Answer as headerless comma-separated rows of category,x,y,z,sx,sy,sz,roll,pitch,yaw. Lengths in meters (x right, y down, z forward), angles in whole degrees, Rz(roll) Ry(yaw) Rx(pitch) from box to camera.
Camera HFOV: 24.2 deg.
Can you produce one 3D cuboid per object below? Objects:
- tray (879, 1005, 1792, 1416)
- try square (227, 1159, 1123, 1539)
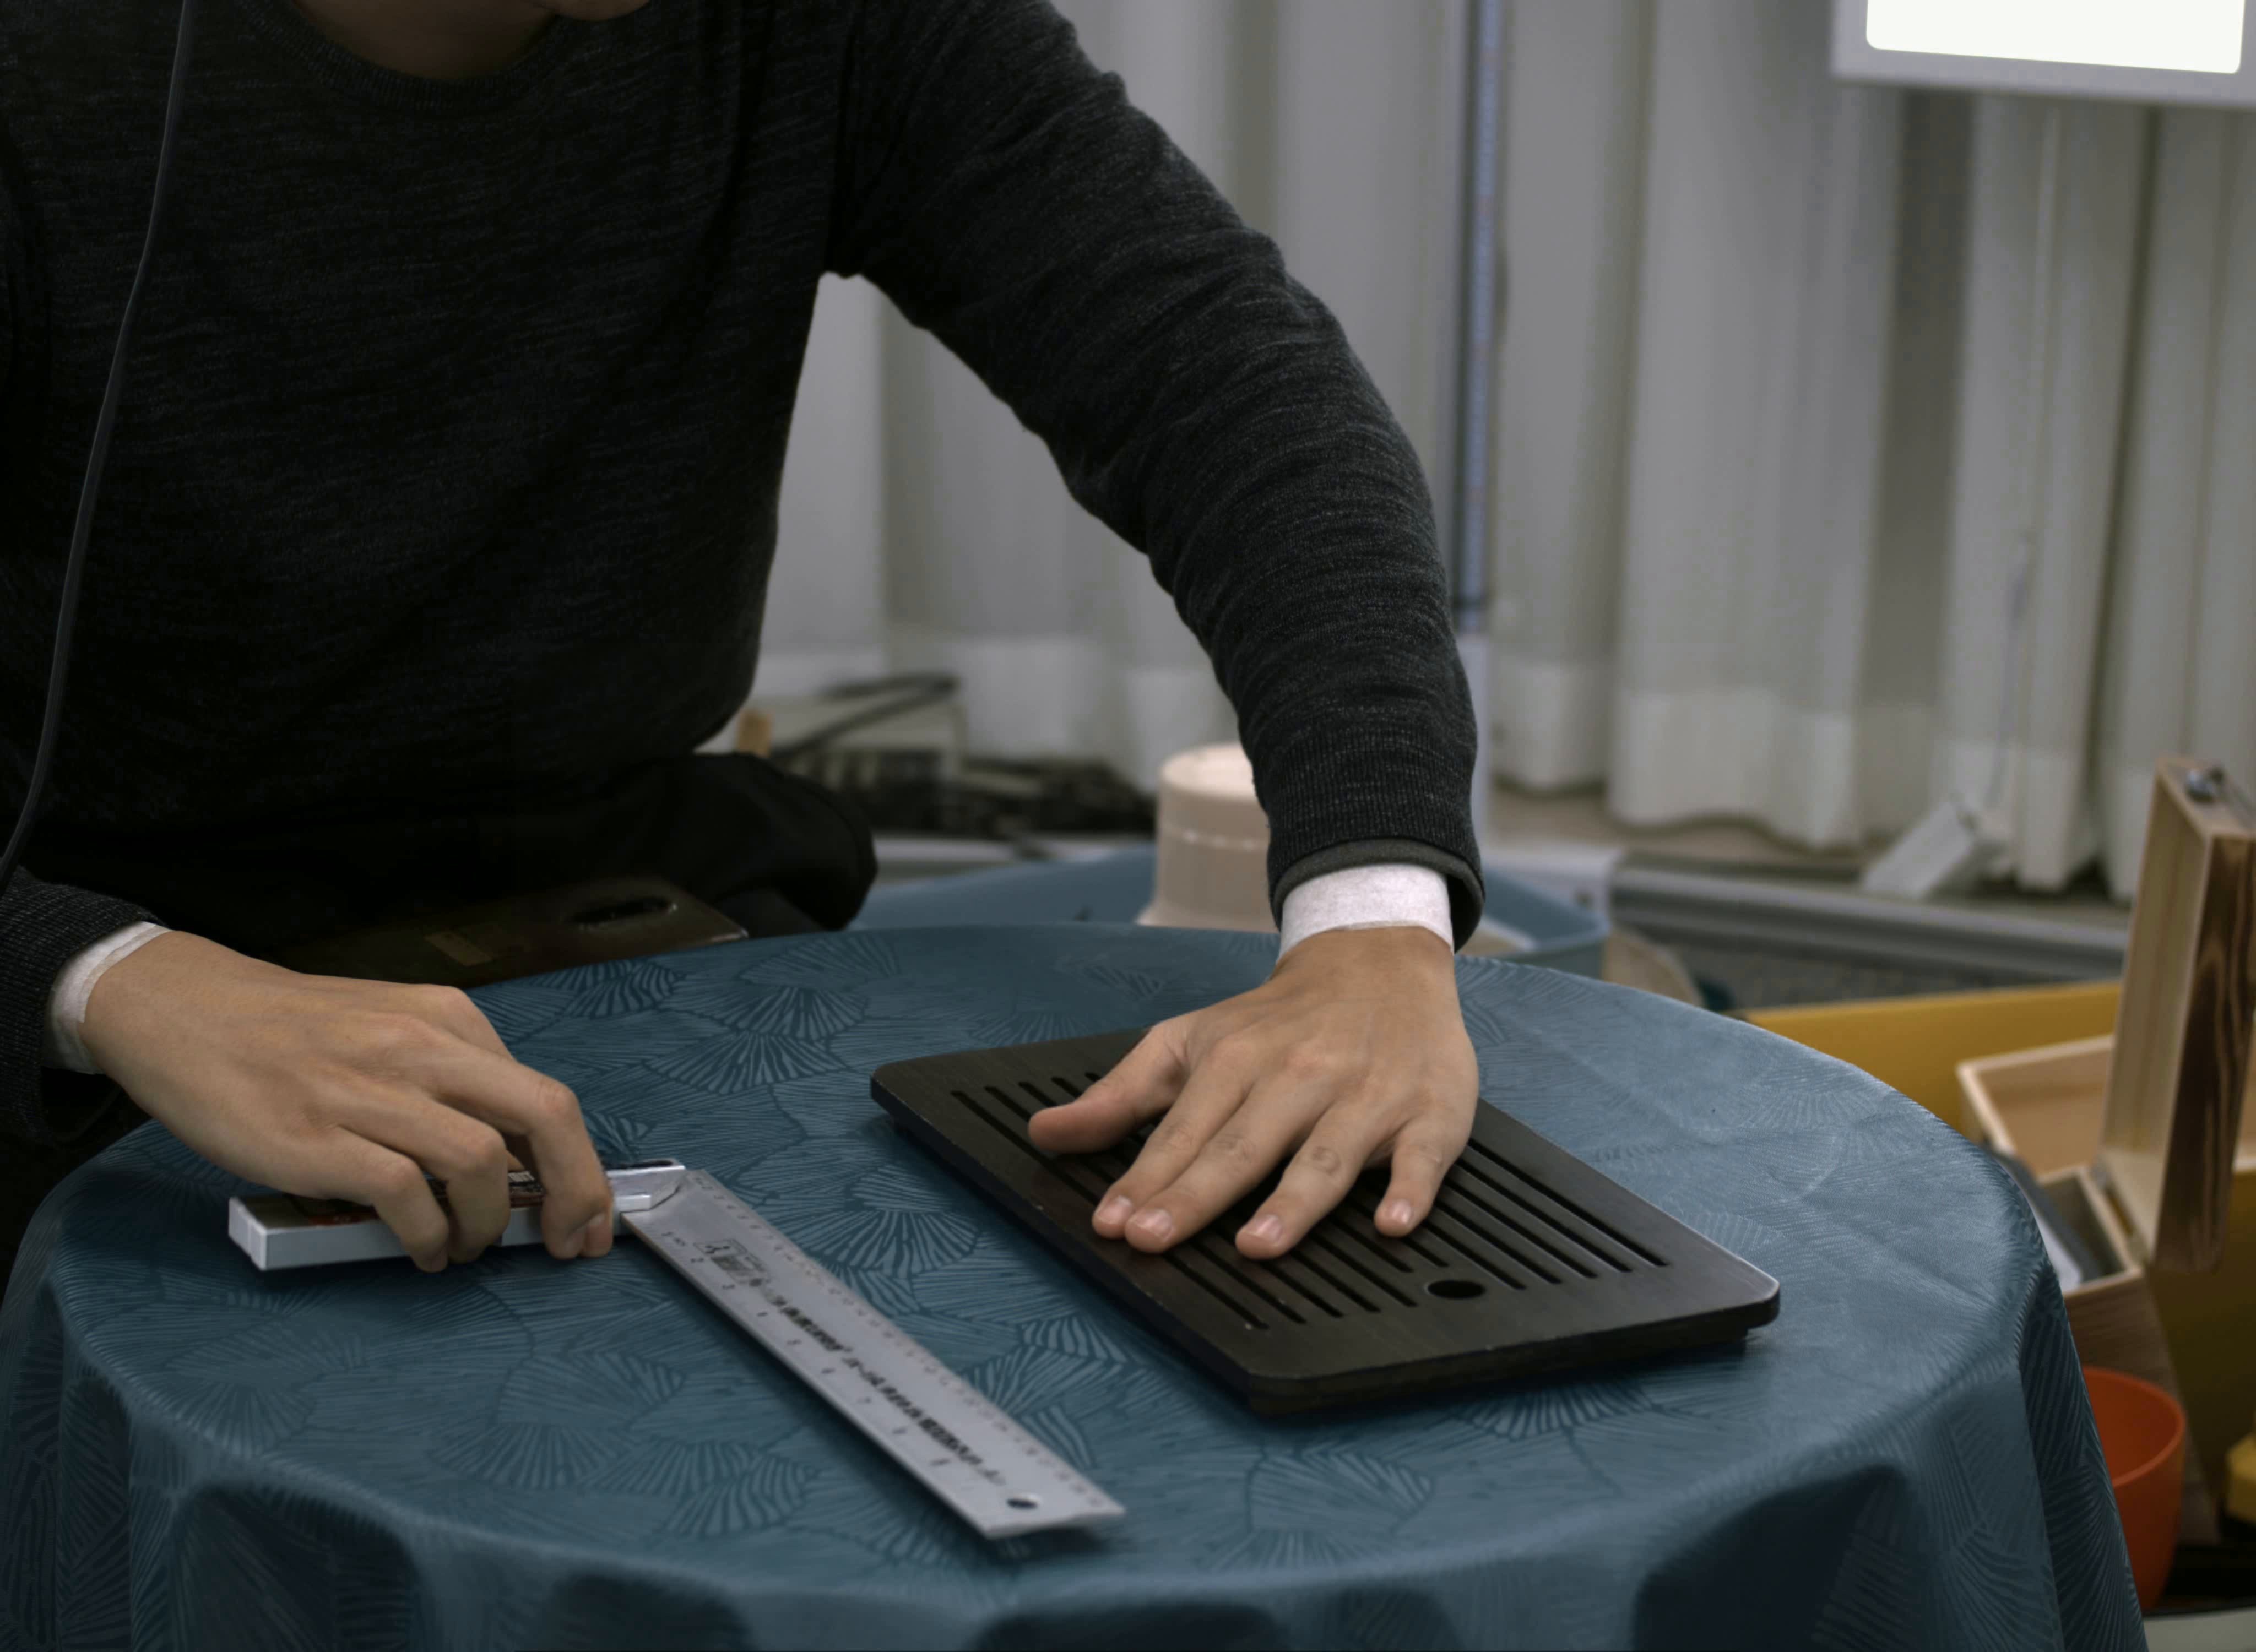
tray,0.055,0.112,1.591,0.171,0.019,0.302,-7,17,-23
try square,-0.134,0.144,1.452,0.153,0.016,0.309,-1,14,-25
